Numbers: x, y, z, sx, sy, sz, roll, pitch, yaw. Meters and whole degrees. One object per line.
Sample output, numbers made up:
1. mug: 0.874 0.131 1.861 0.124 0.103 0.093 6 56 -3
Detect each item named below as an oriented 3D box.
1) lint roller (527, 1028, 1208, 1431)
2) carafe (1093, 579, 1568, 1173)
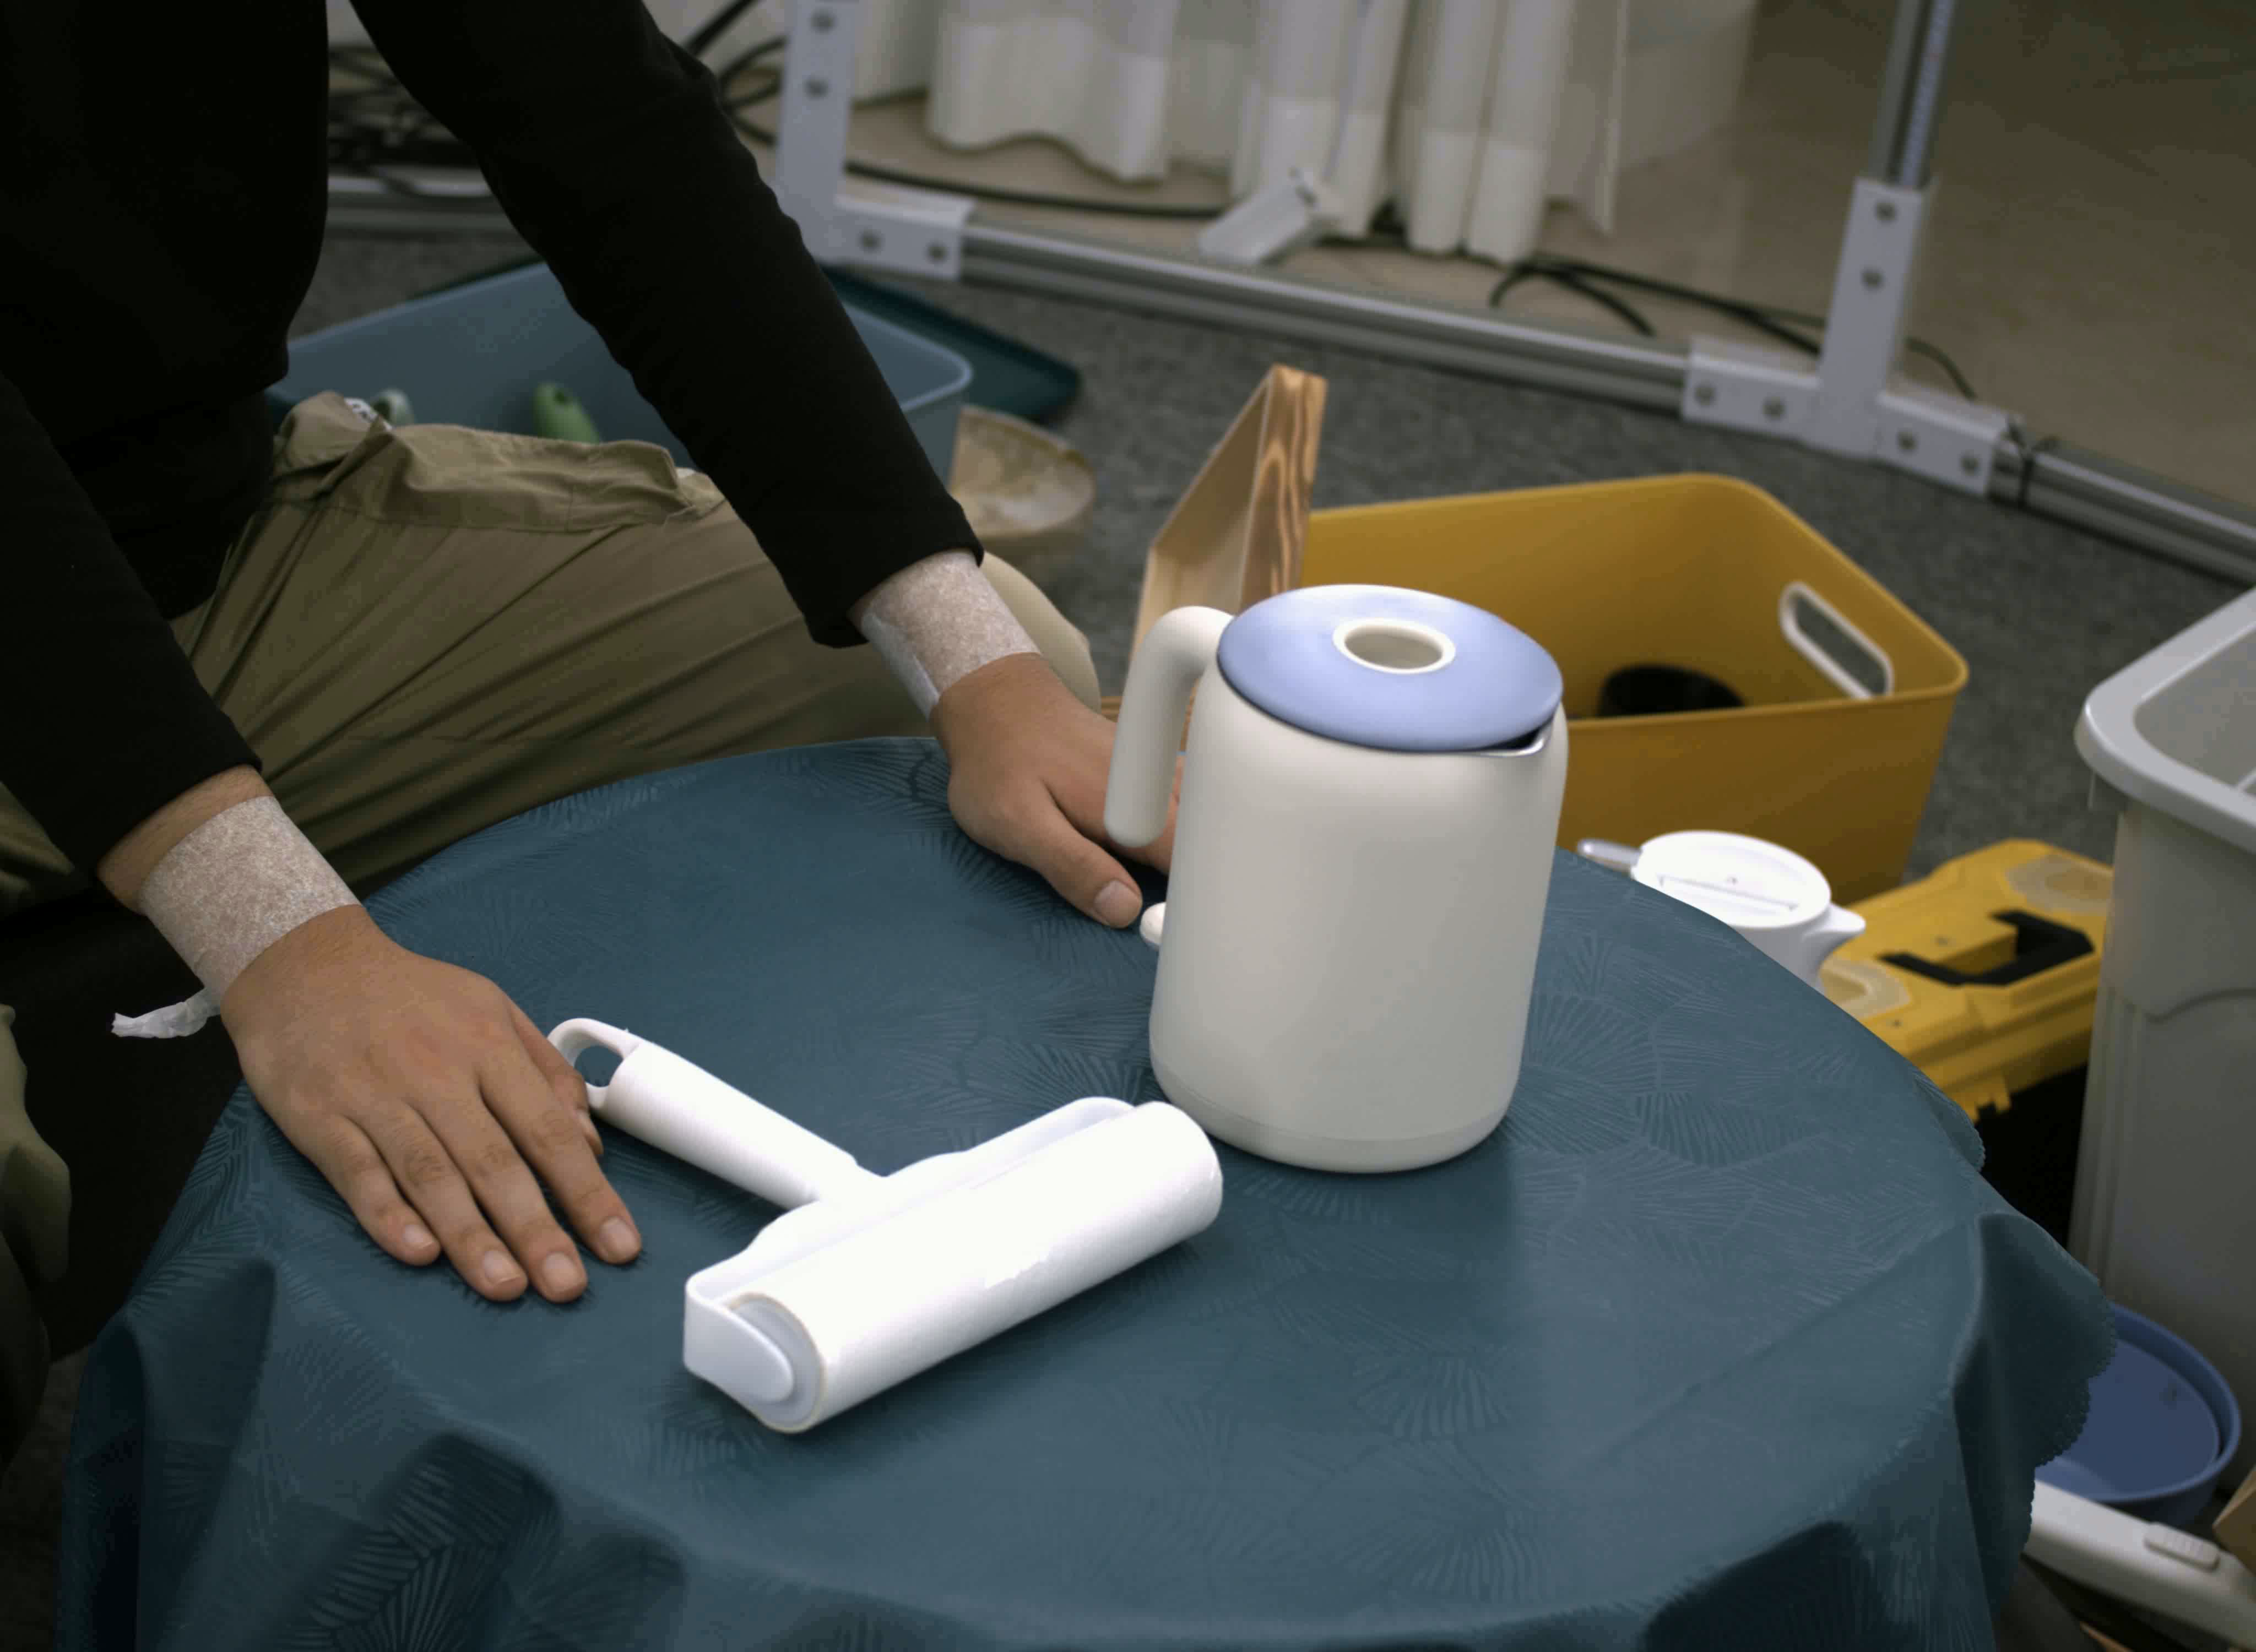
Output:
1. lint roller: -0.117 0.108 1.759 0.227 0.048 0.202 25 33 34
2. carafe: 0.062 0.008 1.854 0.192 0.182 0.131 26 32 37
